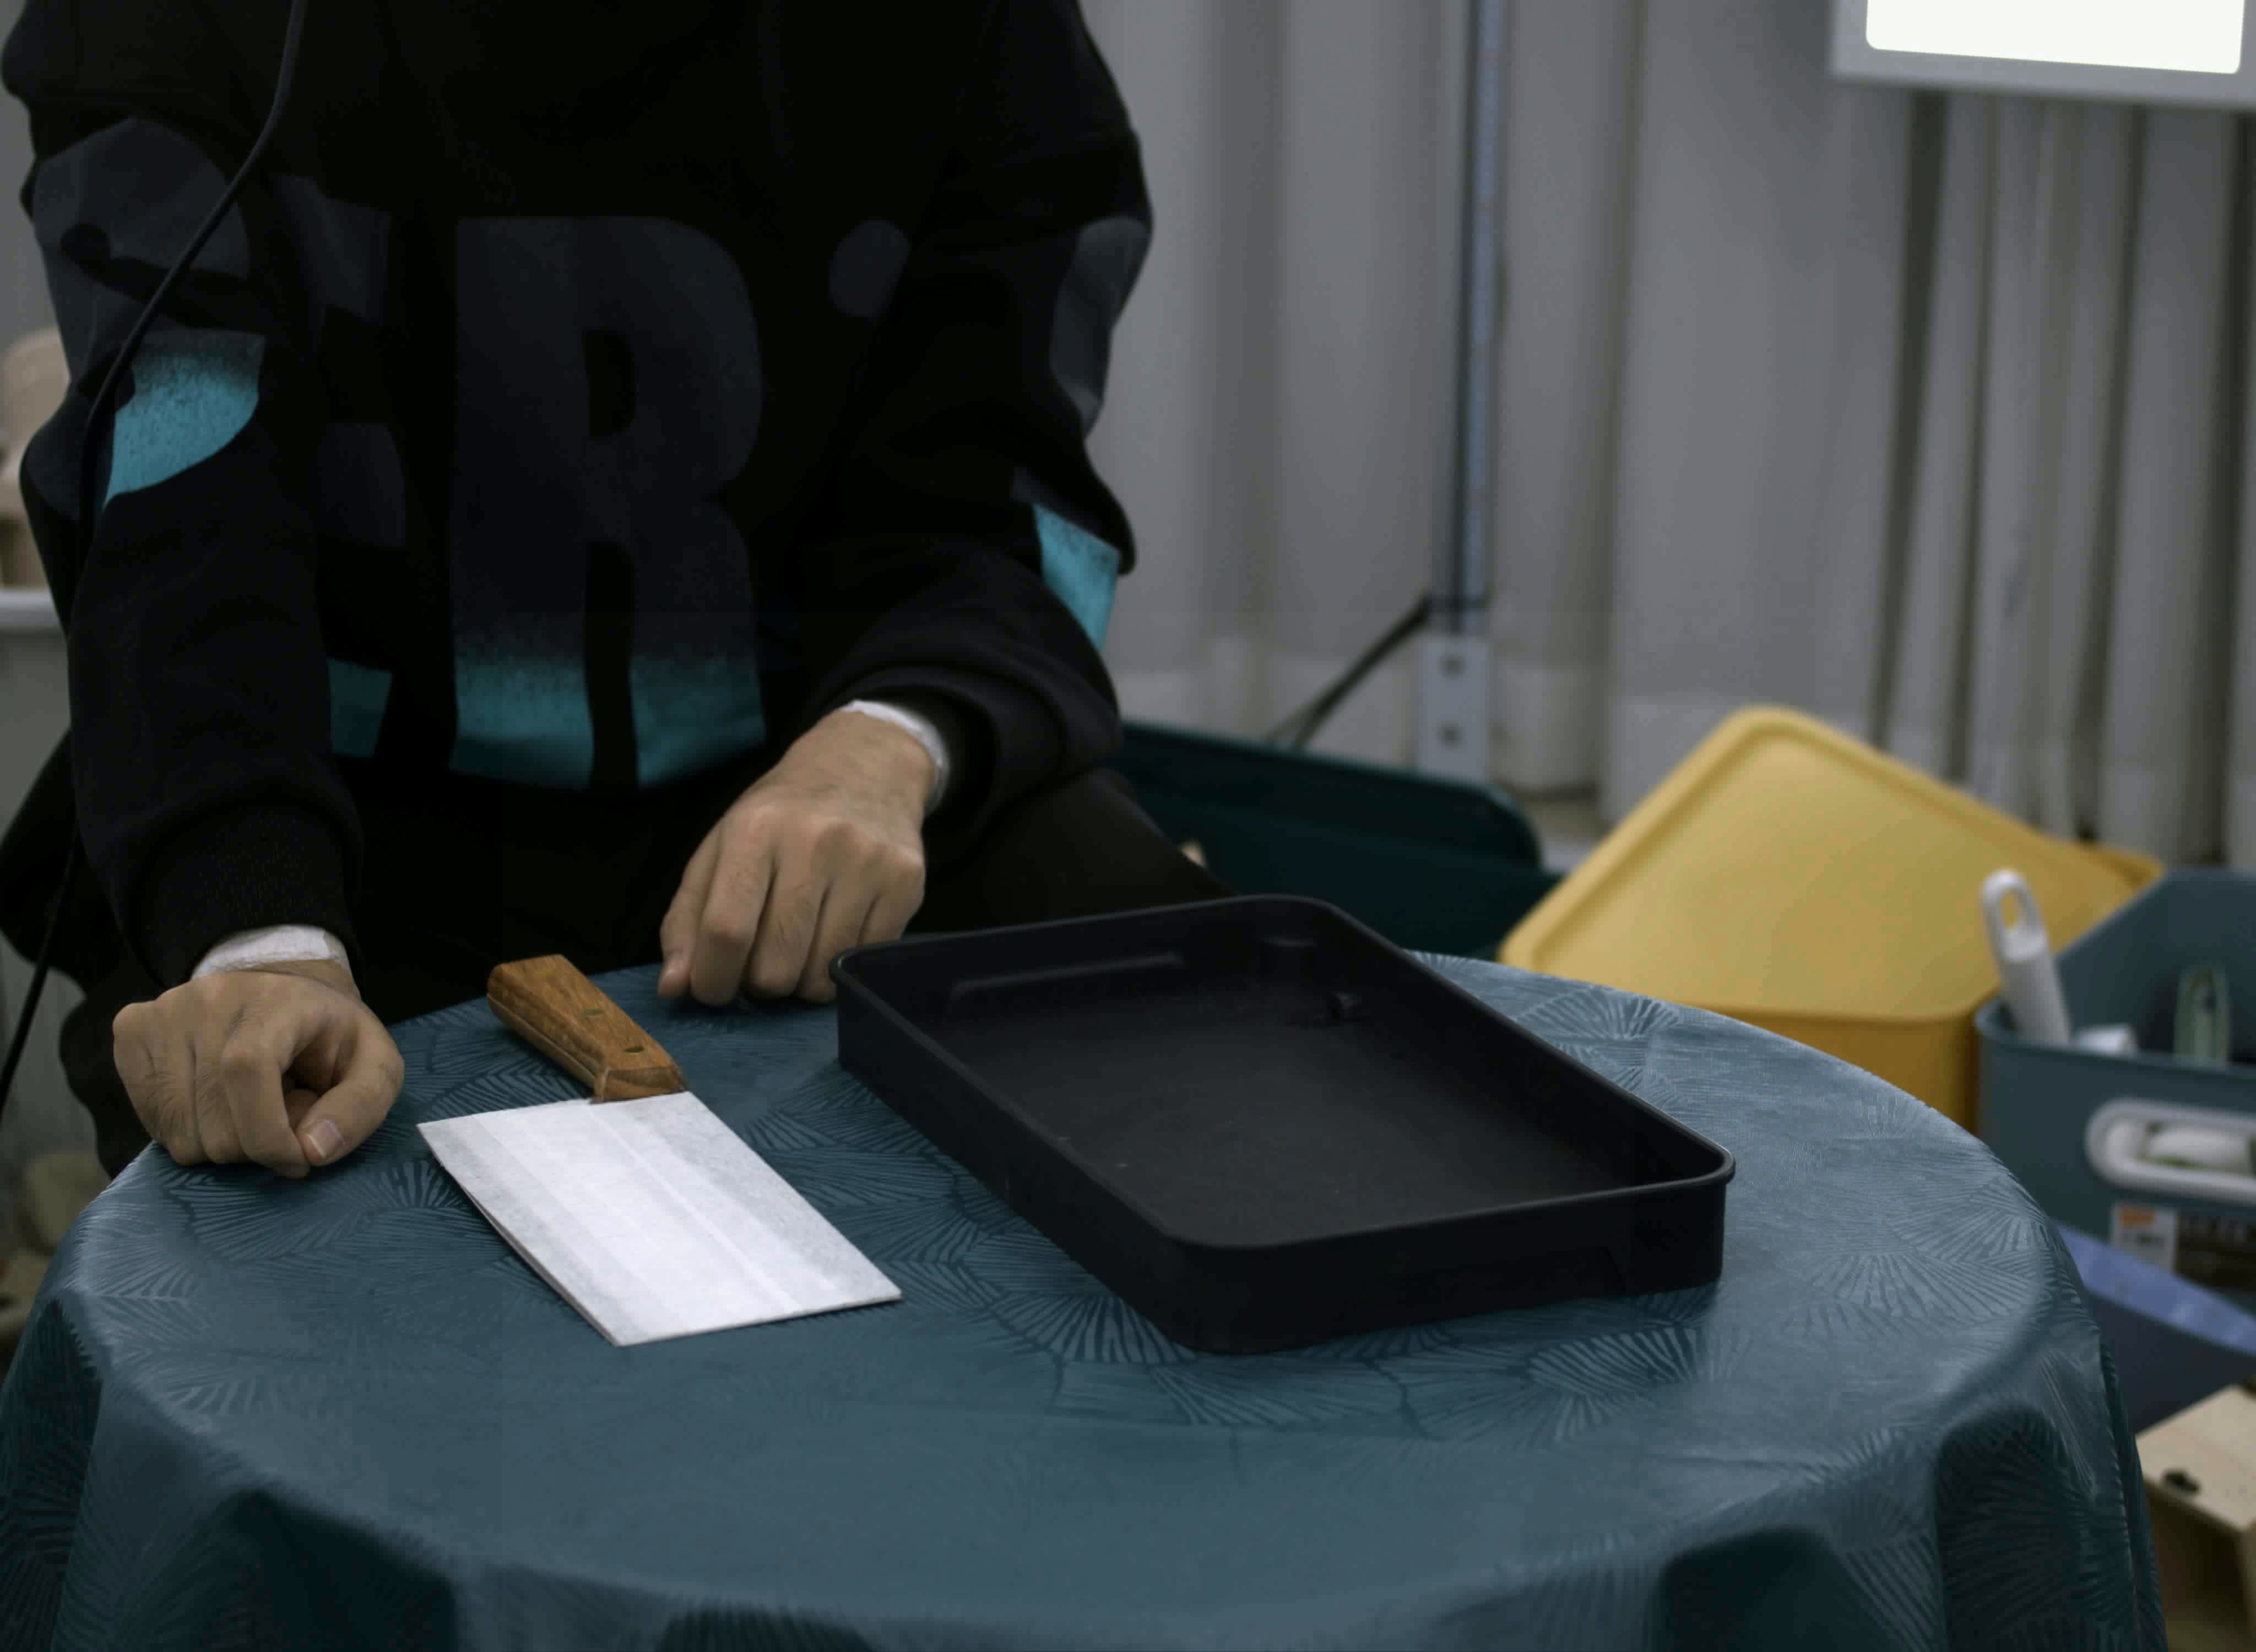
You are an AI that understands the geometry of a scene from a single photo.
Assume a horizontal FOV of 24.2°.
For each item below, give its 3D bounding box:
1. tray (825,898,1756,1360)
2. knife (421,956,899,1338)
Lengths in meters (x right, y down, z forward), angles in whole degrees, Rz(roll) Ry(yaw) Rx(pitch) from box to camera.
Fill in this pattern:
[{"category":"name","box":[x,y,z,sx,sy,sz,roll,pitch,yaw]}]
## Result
[{"category":"tray","box":[0.043,0.088,1.642,0.185,0.037,0.314,-7,17,-24]},{"category":"knife","box":[-0.166,0.099,1.639,0.093,0.021,0.302,-8,20,-23]}]
